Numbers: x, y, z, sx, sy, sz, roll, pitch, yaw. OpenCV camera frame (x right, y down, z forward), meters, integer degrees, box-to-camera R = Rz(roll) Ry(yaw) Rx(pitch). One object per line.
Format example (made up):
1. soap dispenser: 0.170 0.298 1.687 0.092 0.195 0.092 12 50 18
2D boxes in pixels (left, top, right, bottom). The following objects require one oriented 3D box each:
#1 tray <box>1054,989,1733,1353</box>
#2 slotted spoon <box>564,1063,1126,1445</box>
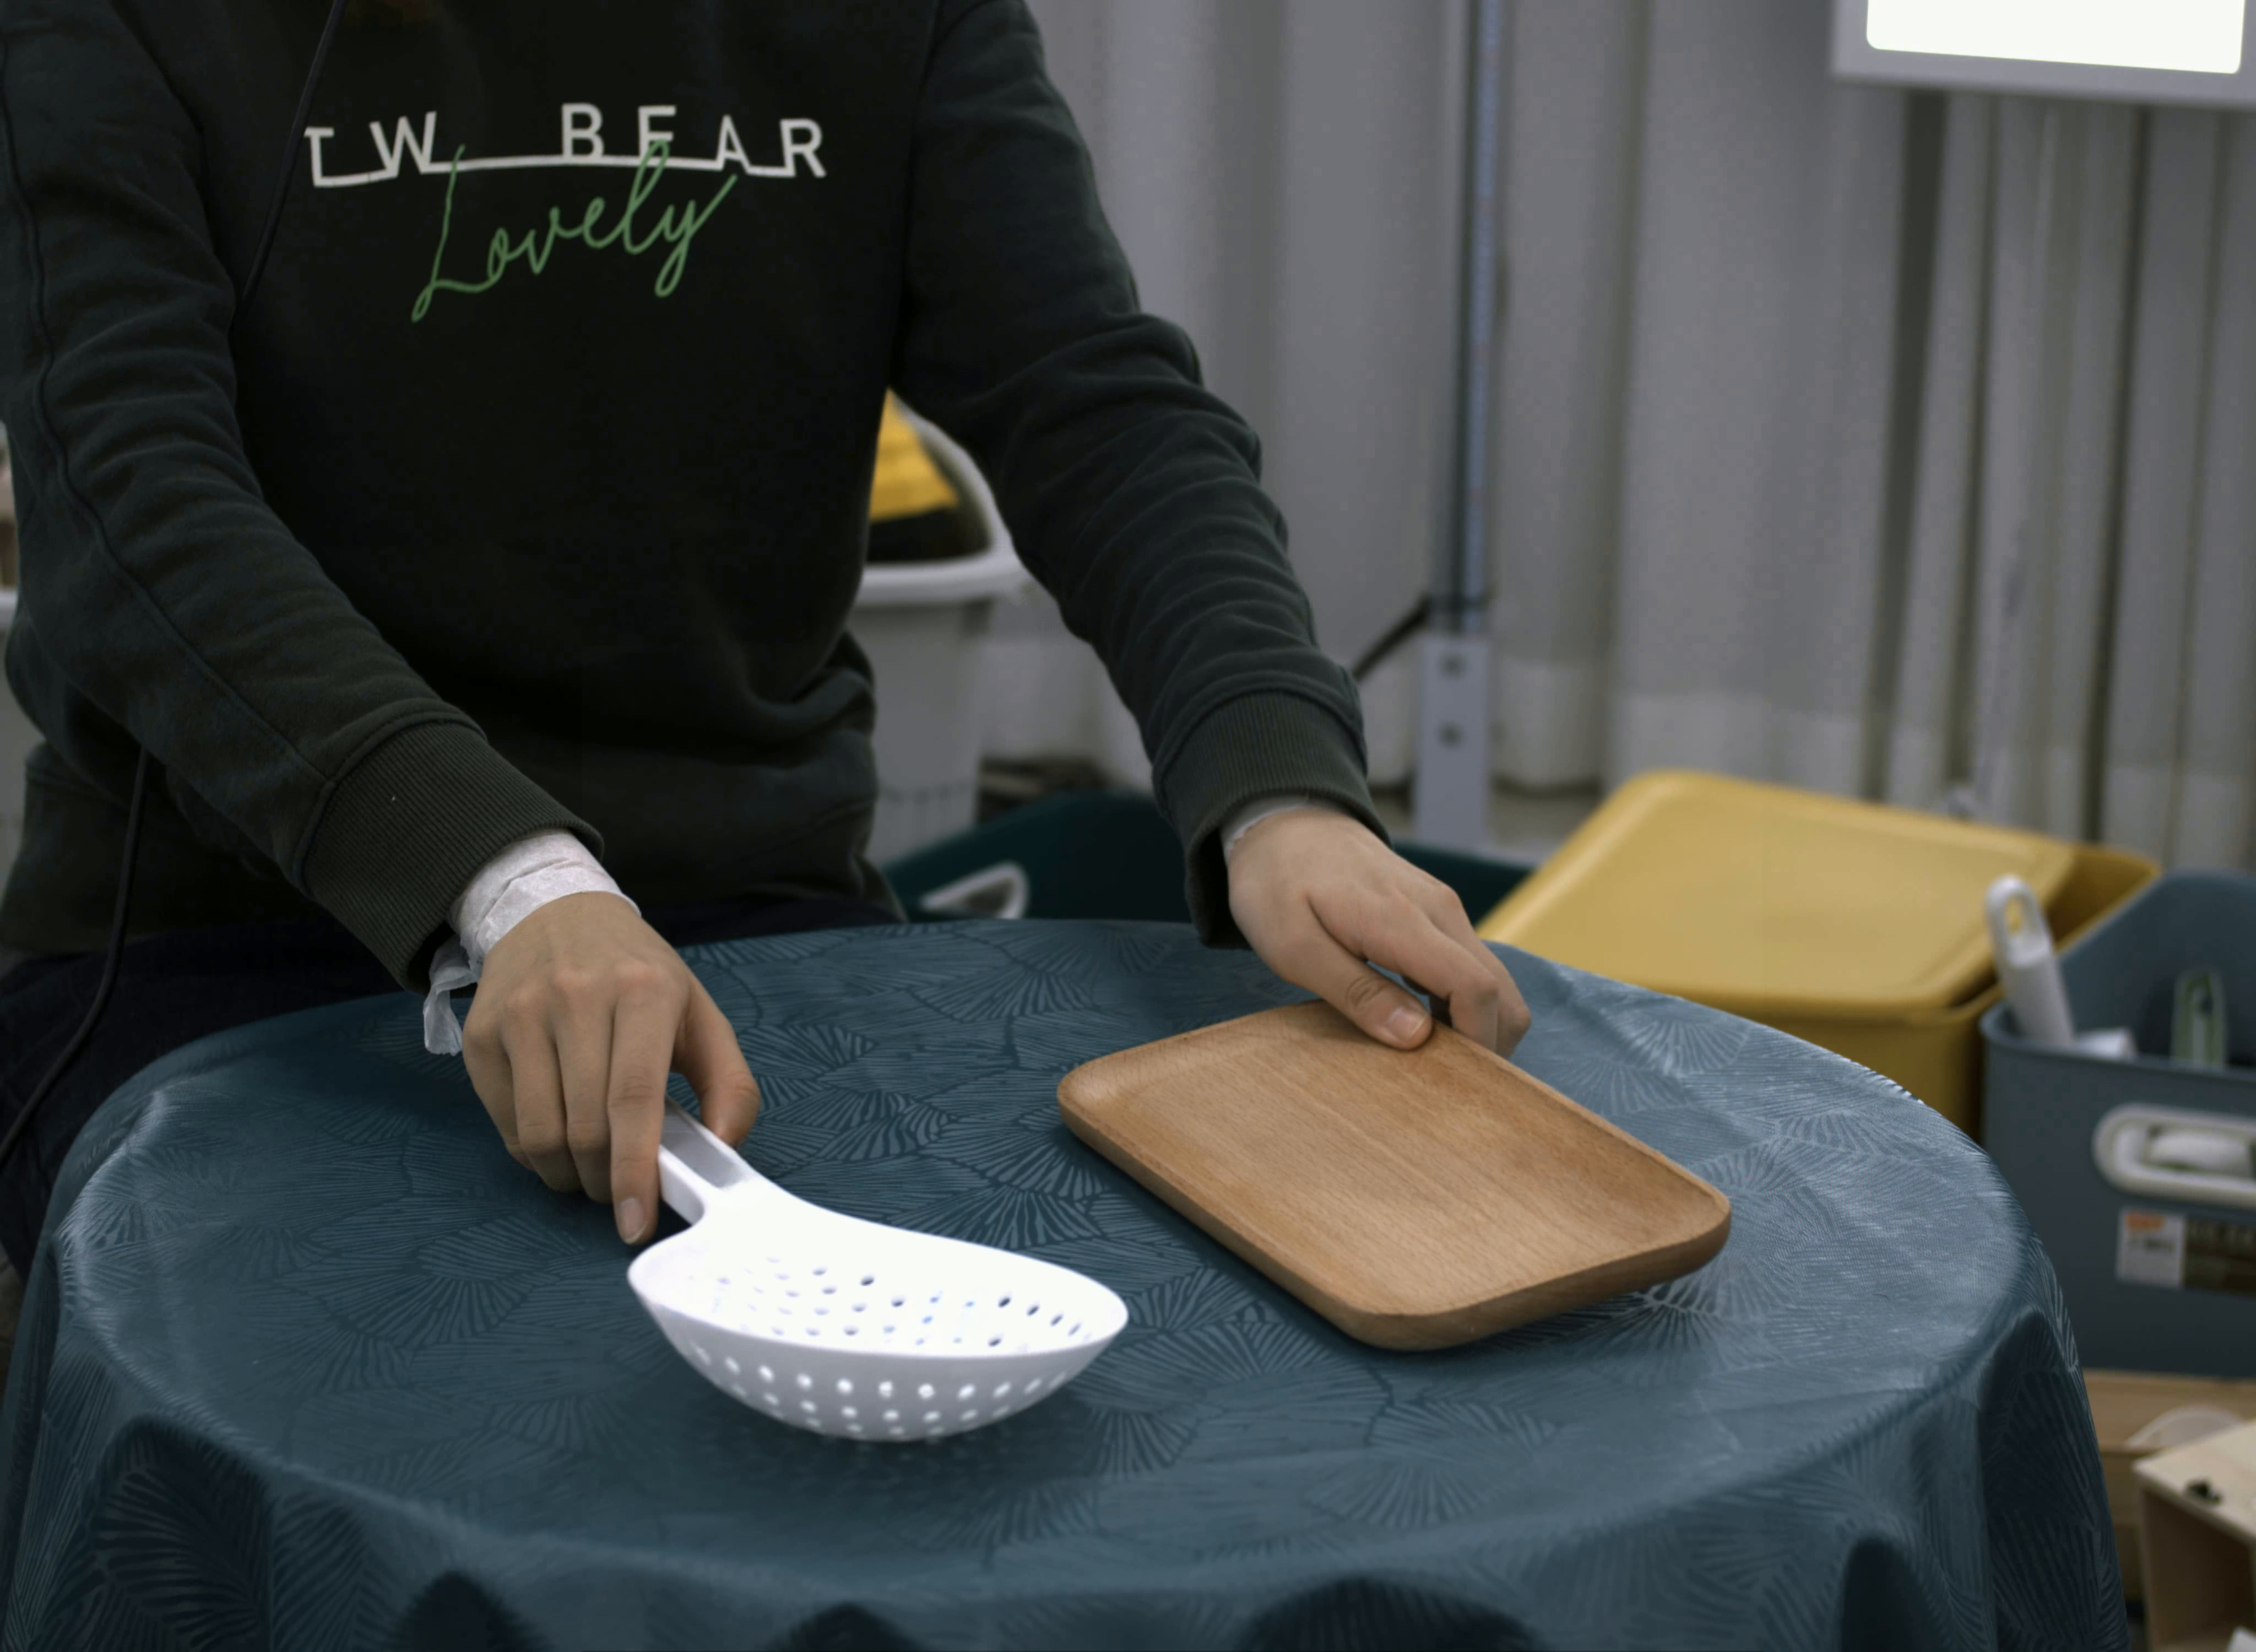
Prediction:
1. tray: 0.077 0.102 1.608 0.131 0.023 0.248 -13 19 -22
2. slotted spoon: -0.108 0.114 1.524 0.136 0.046 0.346 4 14 -22
